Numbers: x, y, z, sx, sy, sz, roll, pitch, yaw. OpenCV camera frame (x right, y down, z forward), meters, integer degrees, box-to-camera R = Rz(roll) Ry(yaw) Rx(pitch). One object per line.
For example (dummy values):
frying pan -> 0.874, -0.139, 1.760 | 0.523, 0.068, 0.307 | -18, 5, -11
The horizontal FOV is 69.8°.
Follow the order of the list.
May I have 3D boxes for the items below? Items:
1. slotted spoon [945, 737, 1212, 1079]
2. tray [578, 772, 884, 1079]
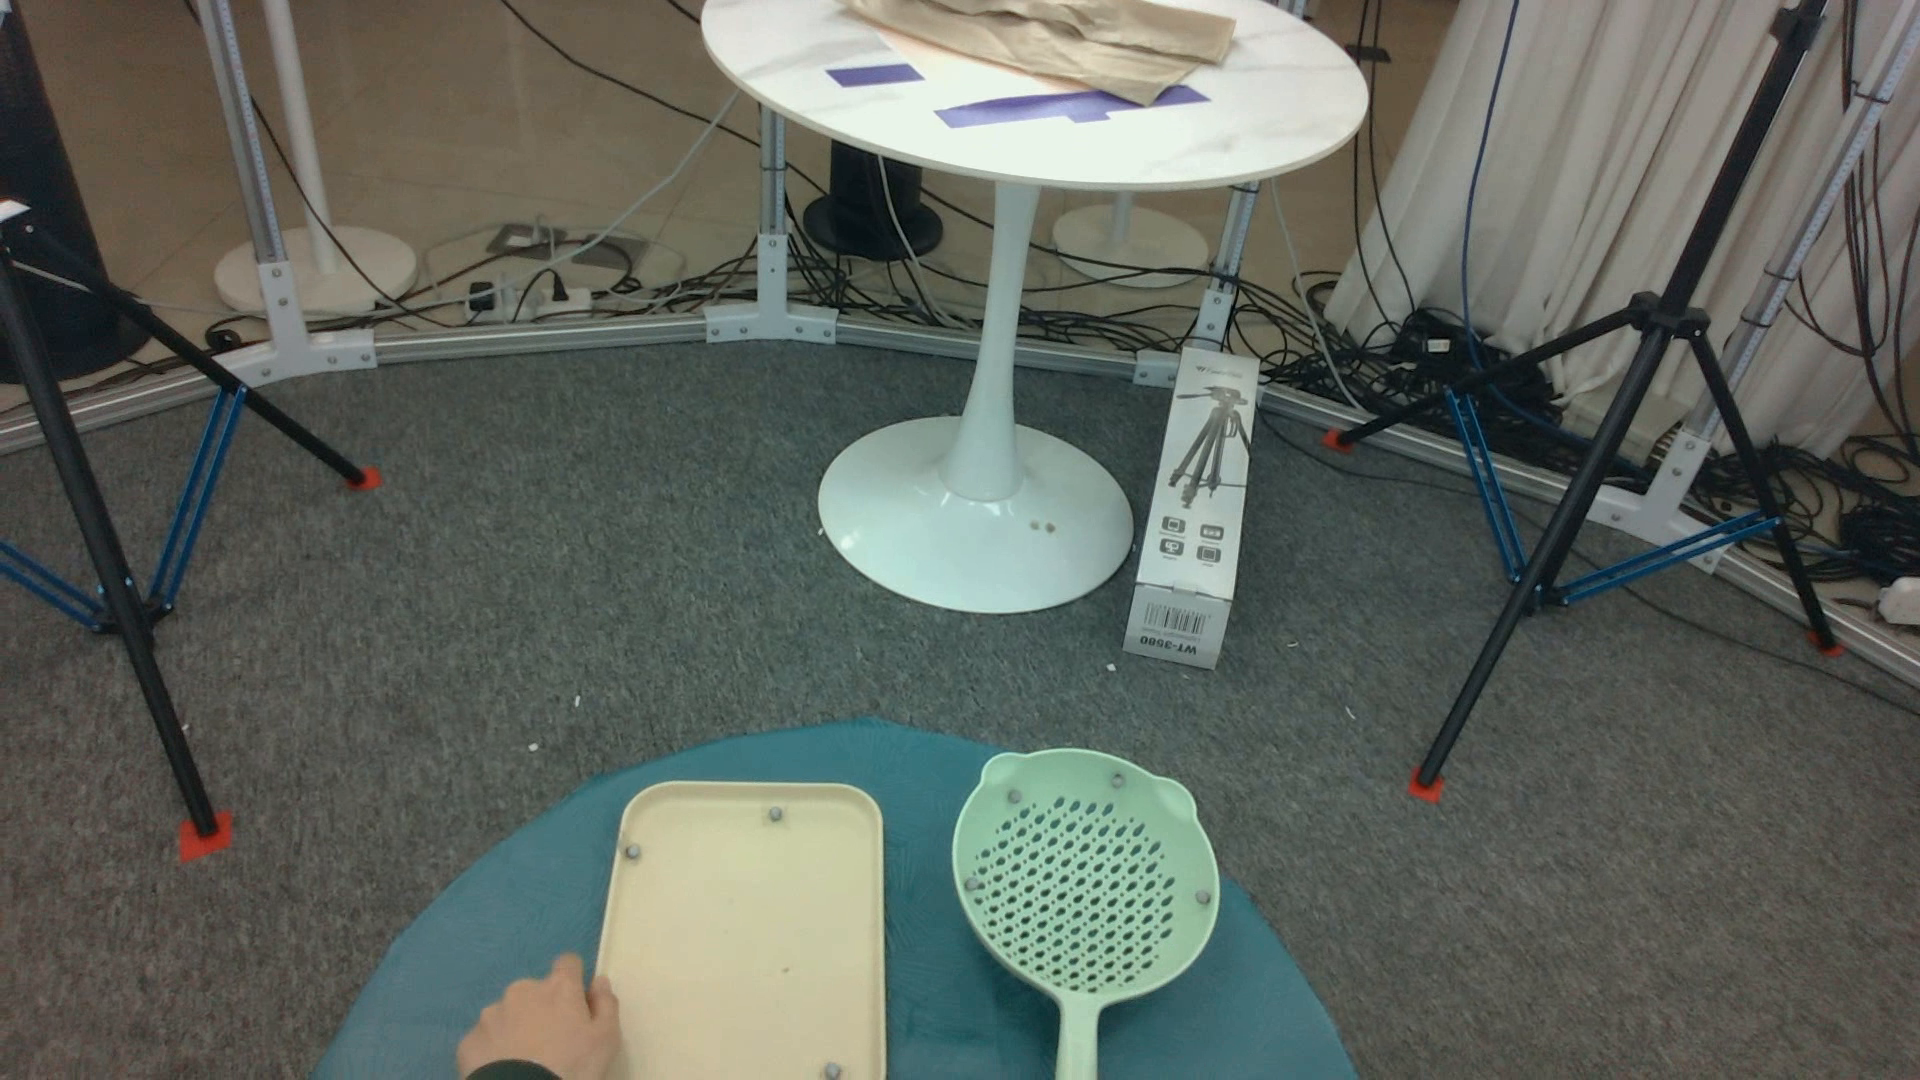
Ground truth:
slotted spoon -> 0.063, 0.273, 0.797 | 0.169, 0.075, 0.360 | 9, 39, -2
tray -> -0.135, 0.240, 0.842 | 0.171, 0.017, 0.240 | 2, 40, -7
